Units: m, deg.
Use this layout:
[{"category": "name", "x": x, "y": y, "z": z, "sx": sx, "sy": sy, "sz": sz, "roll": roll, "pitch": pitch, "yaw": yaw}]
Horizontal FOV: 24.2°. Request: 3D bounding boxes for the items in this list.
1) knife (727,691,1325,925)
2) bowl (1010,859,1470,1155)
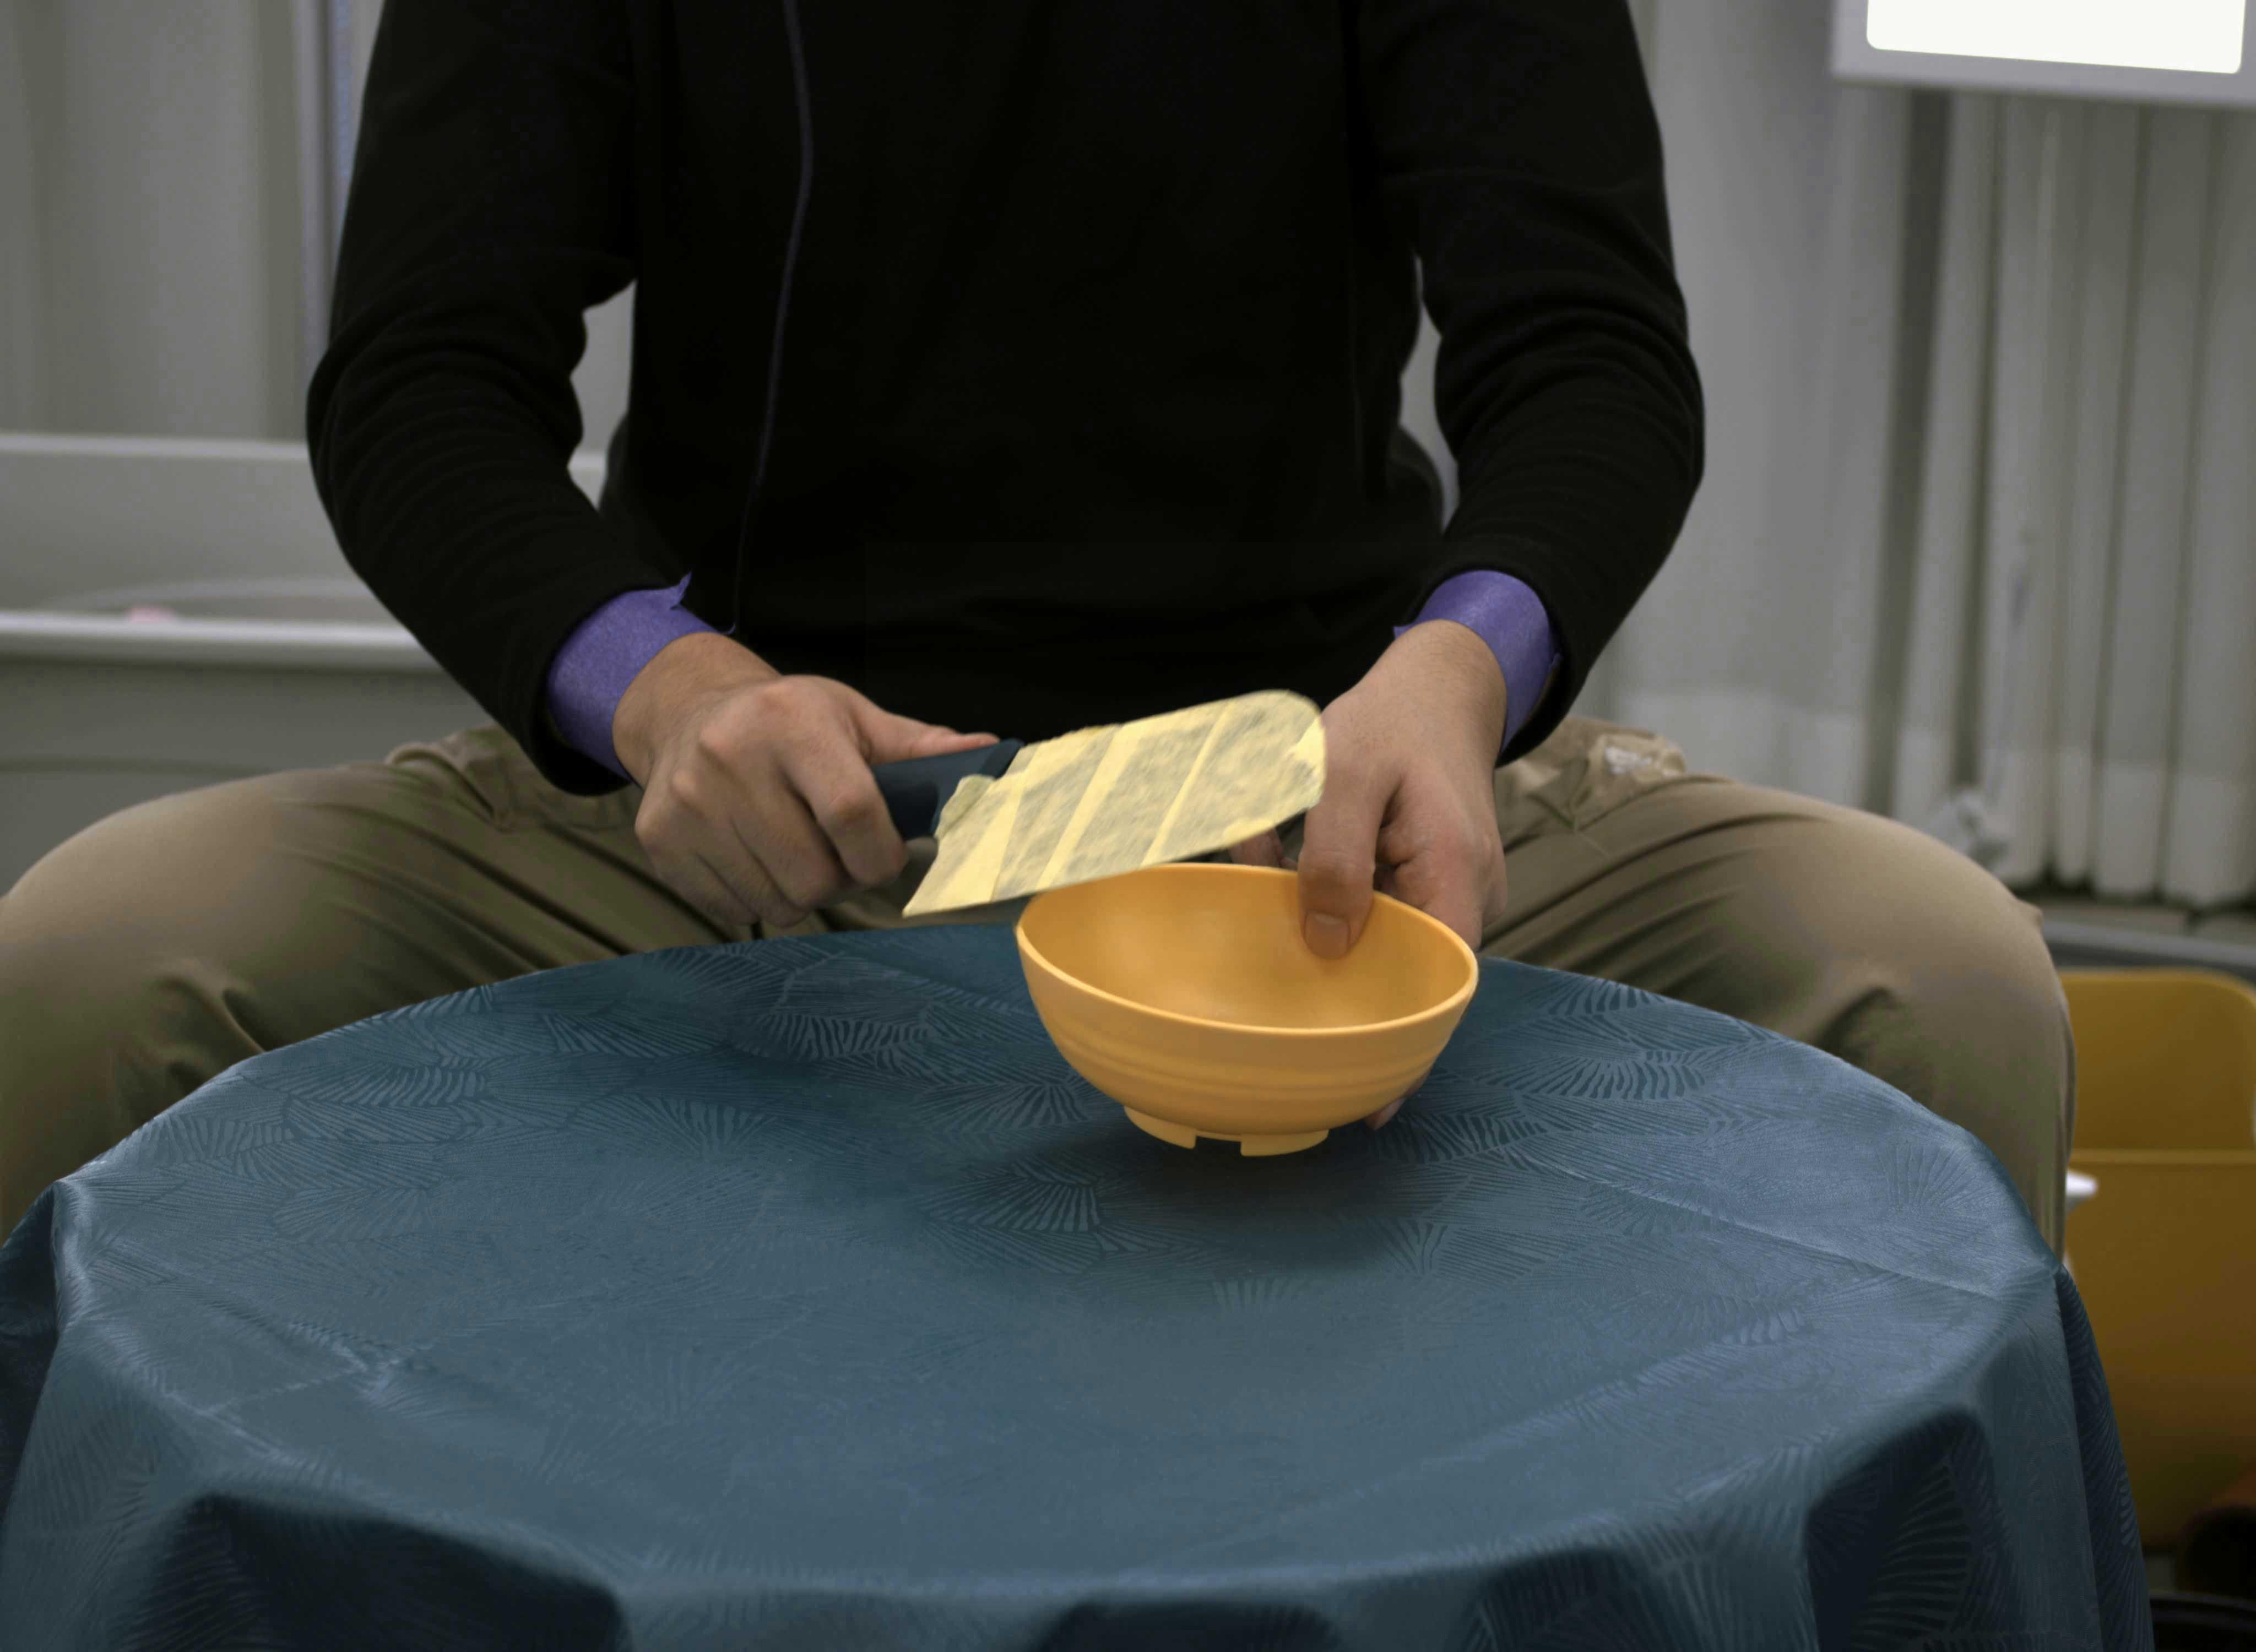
[{"category": "knife", "x": -0.038, "y": 0.001, "z": 1.667, "sx": 0.287, "sy": 0.027, "sz": 0.081, "roll": -12, "pitch": 36, "yaw": 47}, {"category": "bowl", "x": 0.031, "y": 0.063, "z": 1.643, "sx": 0.145, "sy": 0.060, "sz": 0.144, "roll": 7, "pitch": 19, "yaw": -2}]
